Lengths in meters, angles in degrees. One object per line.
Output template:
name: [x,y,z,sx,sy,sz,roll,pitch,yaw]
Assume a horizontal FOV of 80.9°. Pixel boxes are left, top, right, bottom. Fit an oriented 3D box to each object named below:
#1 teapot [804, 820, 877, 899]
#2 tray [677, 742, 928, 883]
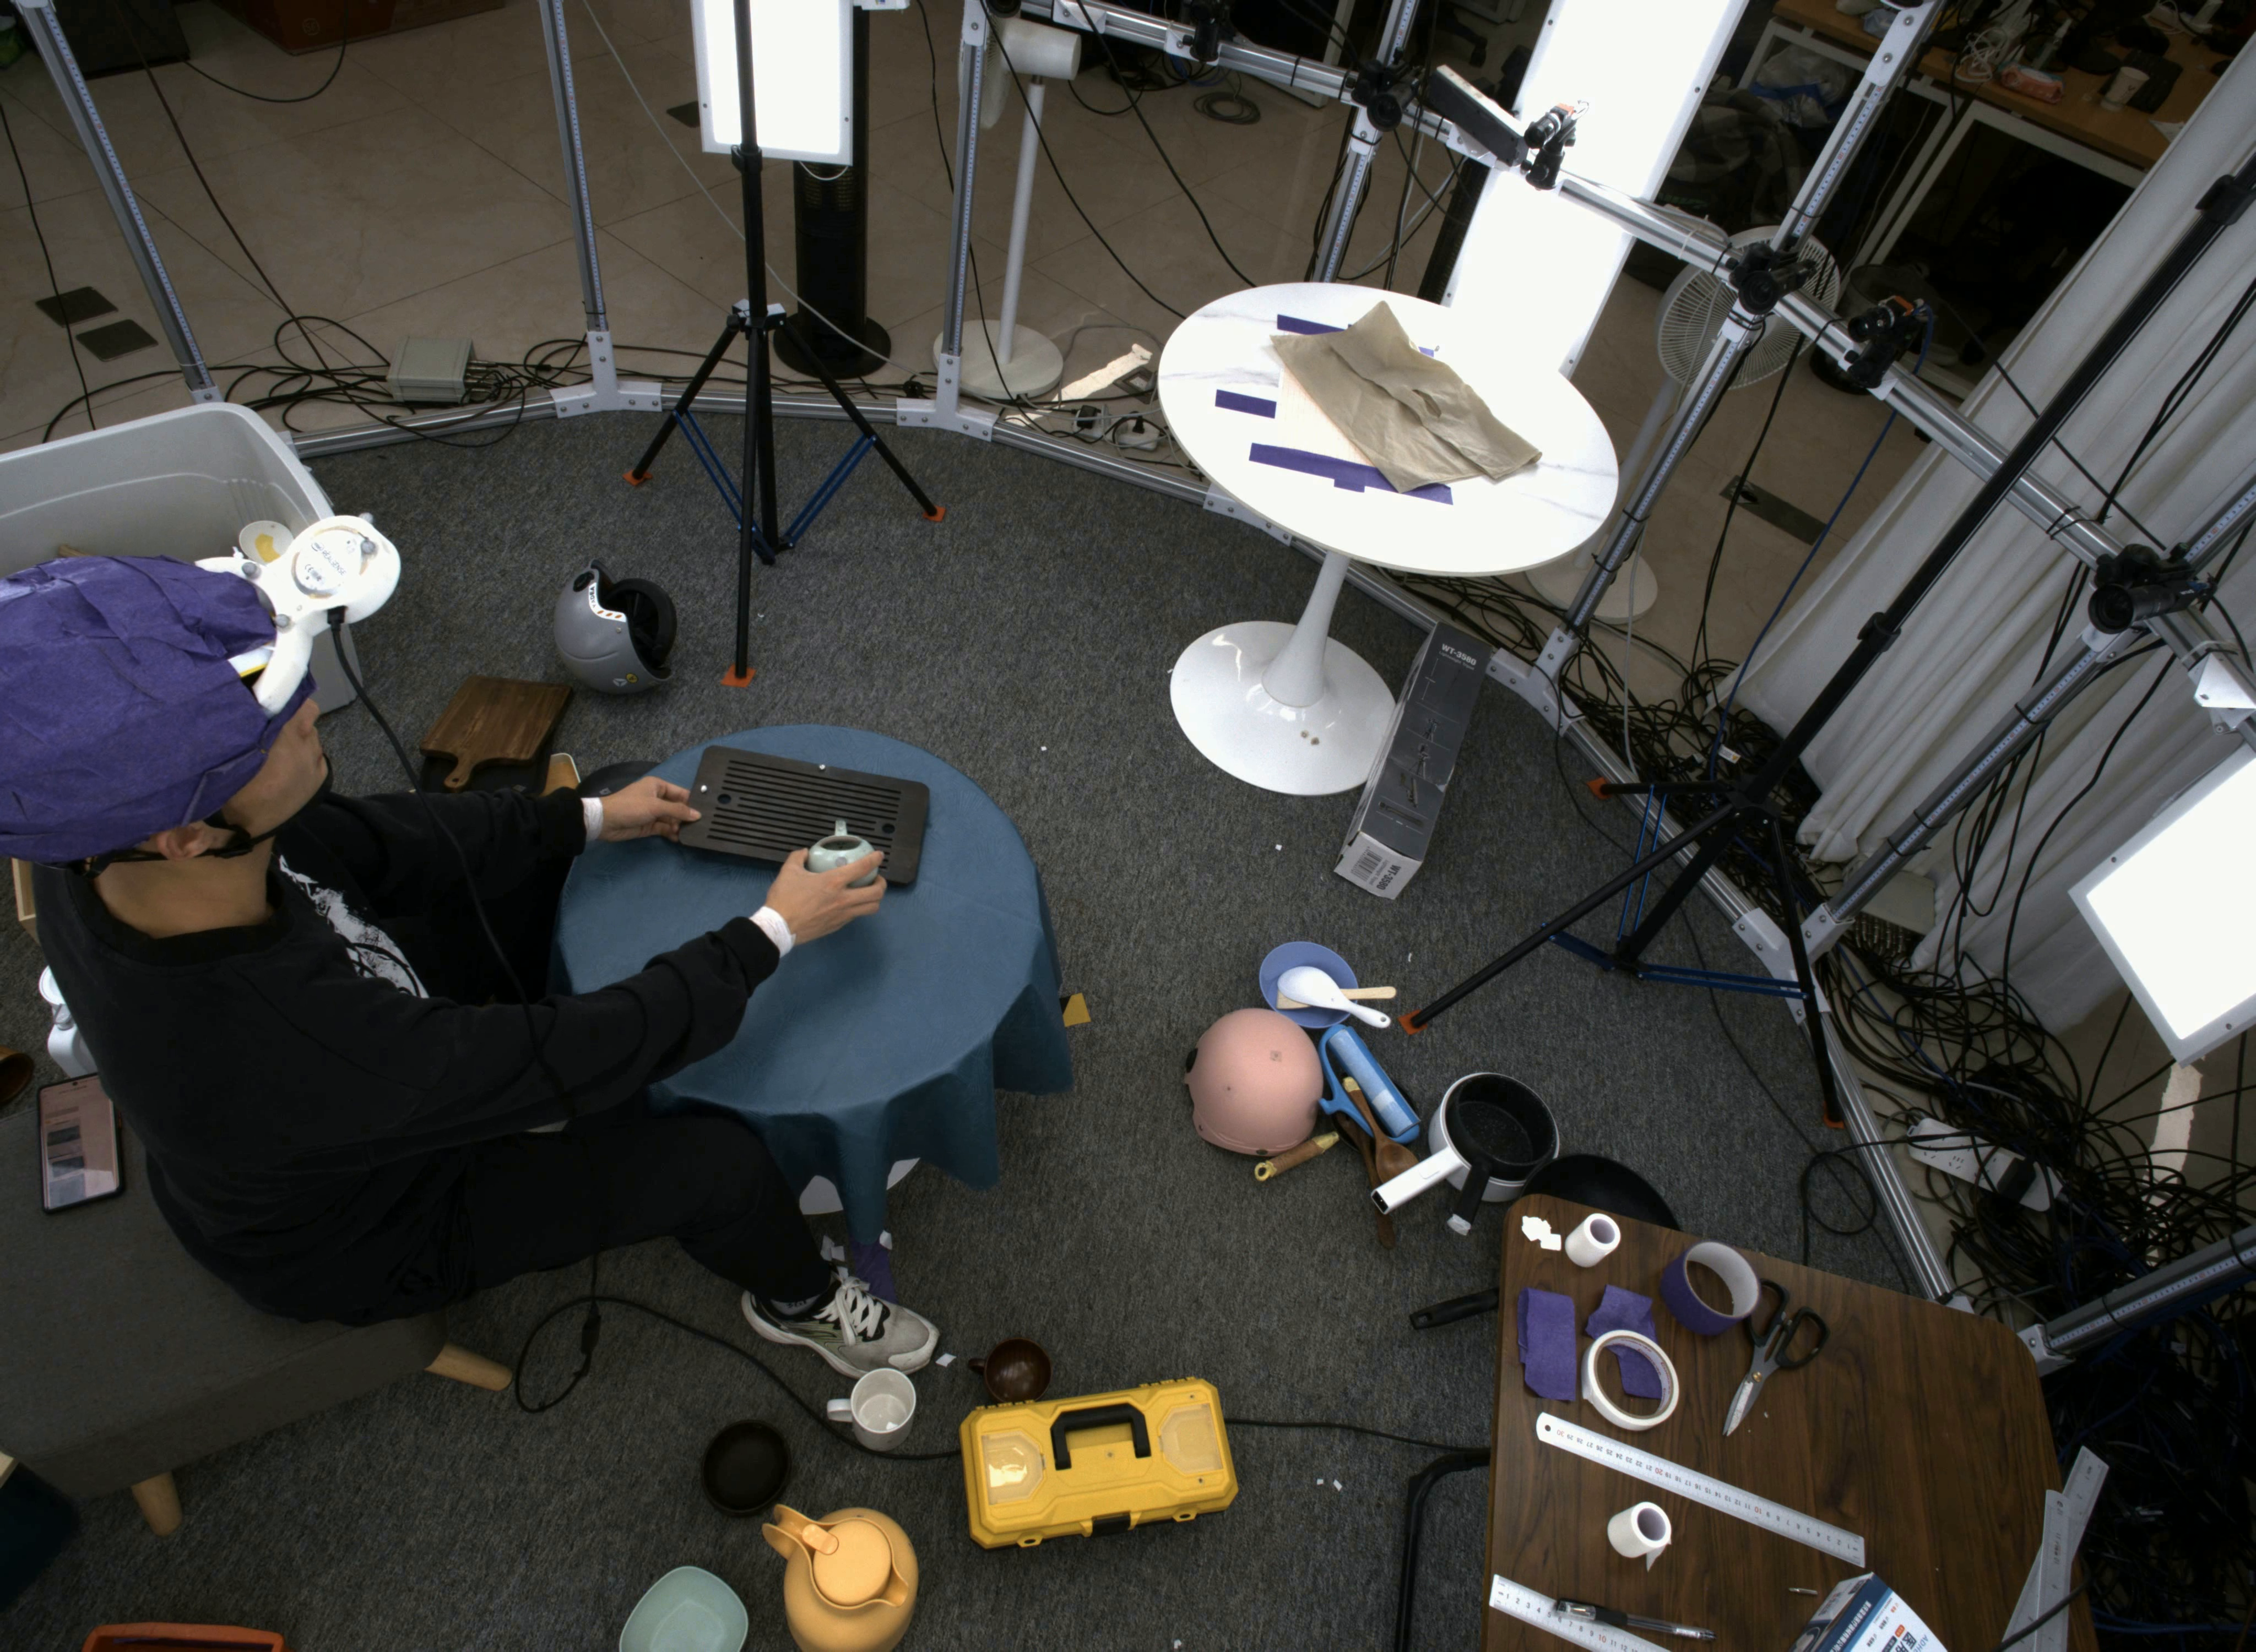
teapot: [-0.350,0.045,1.583,0.088,0.077,0.140,-2,19,-10]
tray: [-0.424,-0.018,1.710,0.306,0.019,0.167,11,52,-12]
